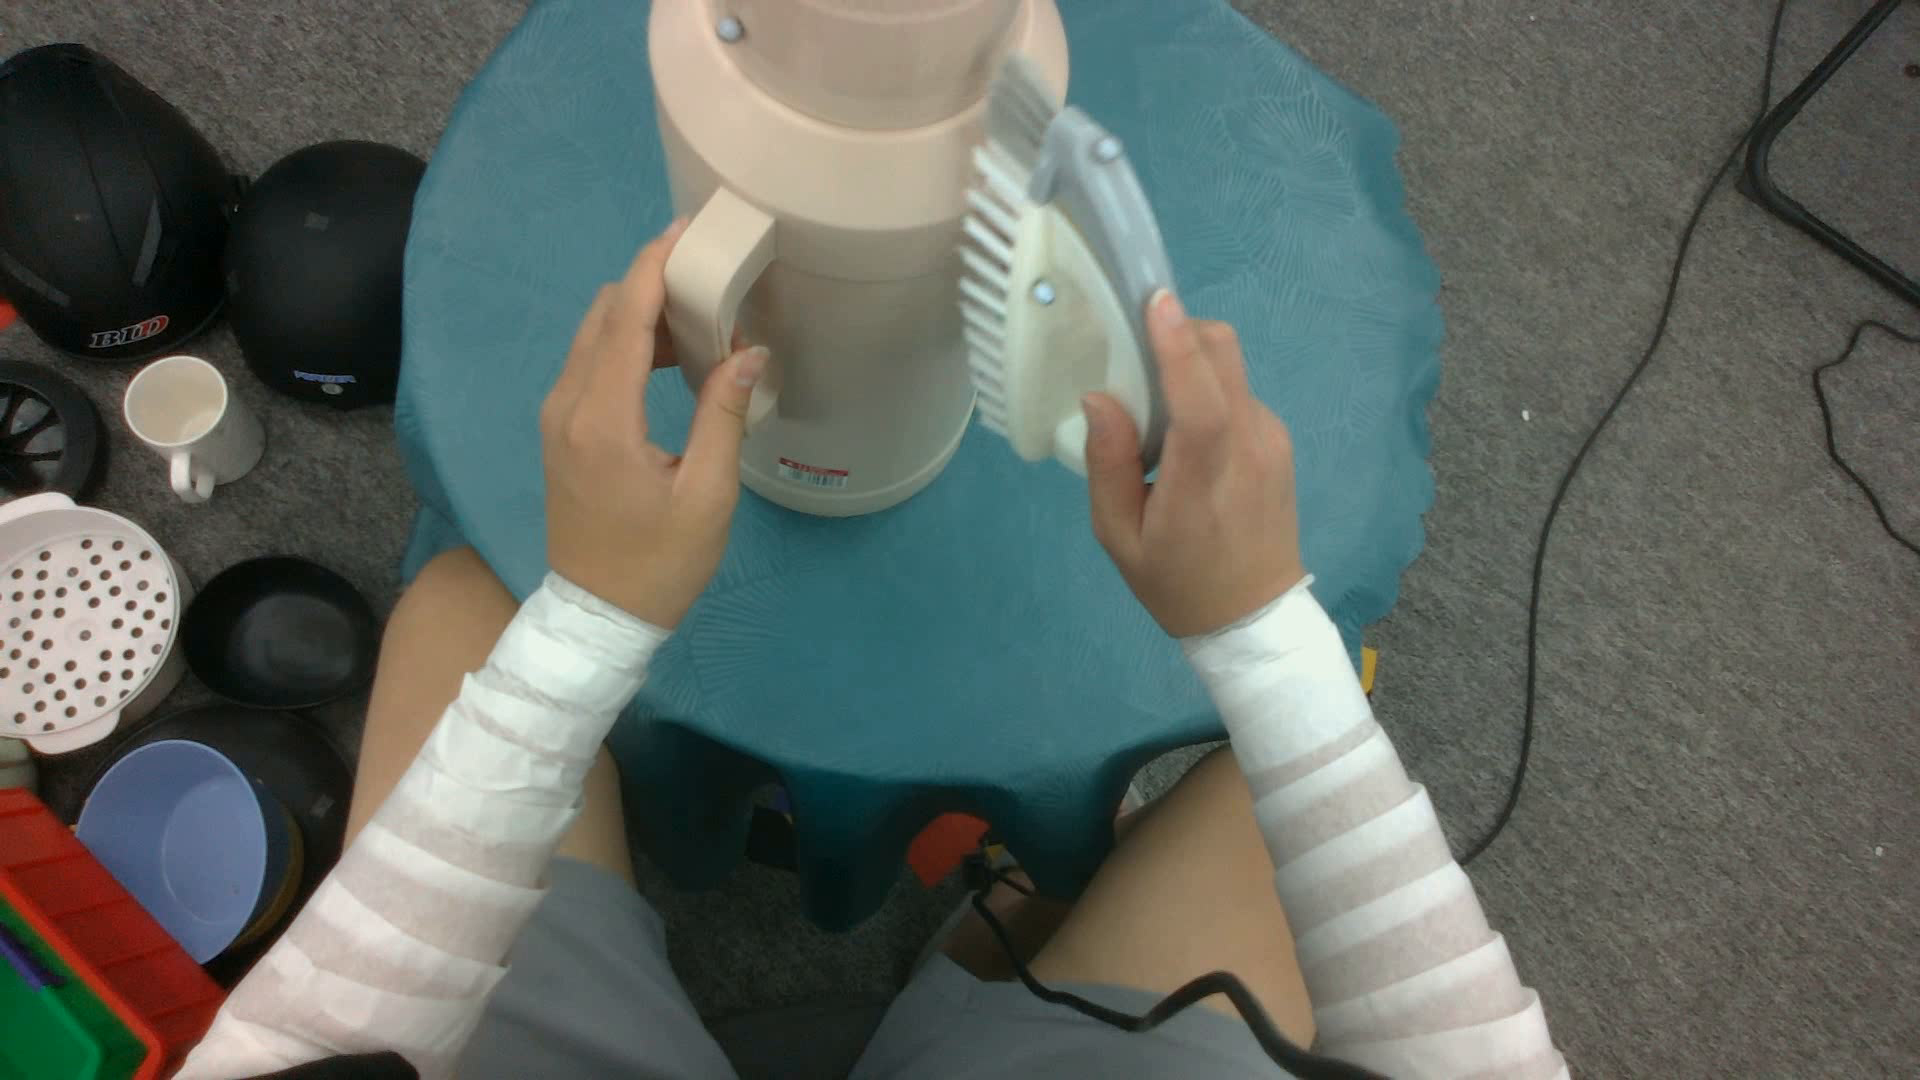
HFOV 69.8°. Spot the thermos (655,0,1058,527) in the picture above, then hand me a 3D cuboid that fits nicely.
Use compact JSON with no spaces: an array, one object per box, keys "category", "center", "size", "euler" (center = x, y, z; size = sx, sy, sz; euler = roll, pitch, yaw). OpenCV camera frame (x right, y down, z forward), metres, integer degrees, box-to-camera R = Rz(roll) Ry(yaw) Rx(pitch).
[{"category":"thermos","center":[-0.057,-0.134,0.620],"size":[0.175,0.405,0.208],"euler":[30,70,3]}]

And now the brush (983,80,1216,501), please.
[{"category":"brush","center":[0.056,-0.082,0.523],"size":[0.061,0.175,0.094],"euler":[-36,58,-23]}]
